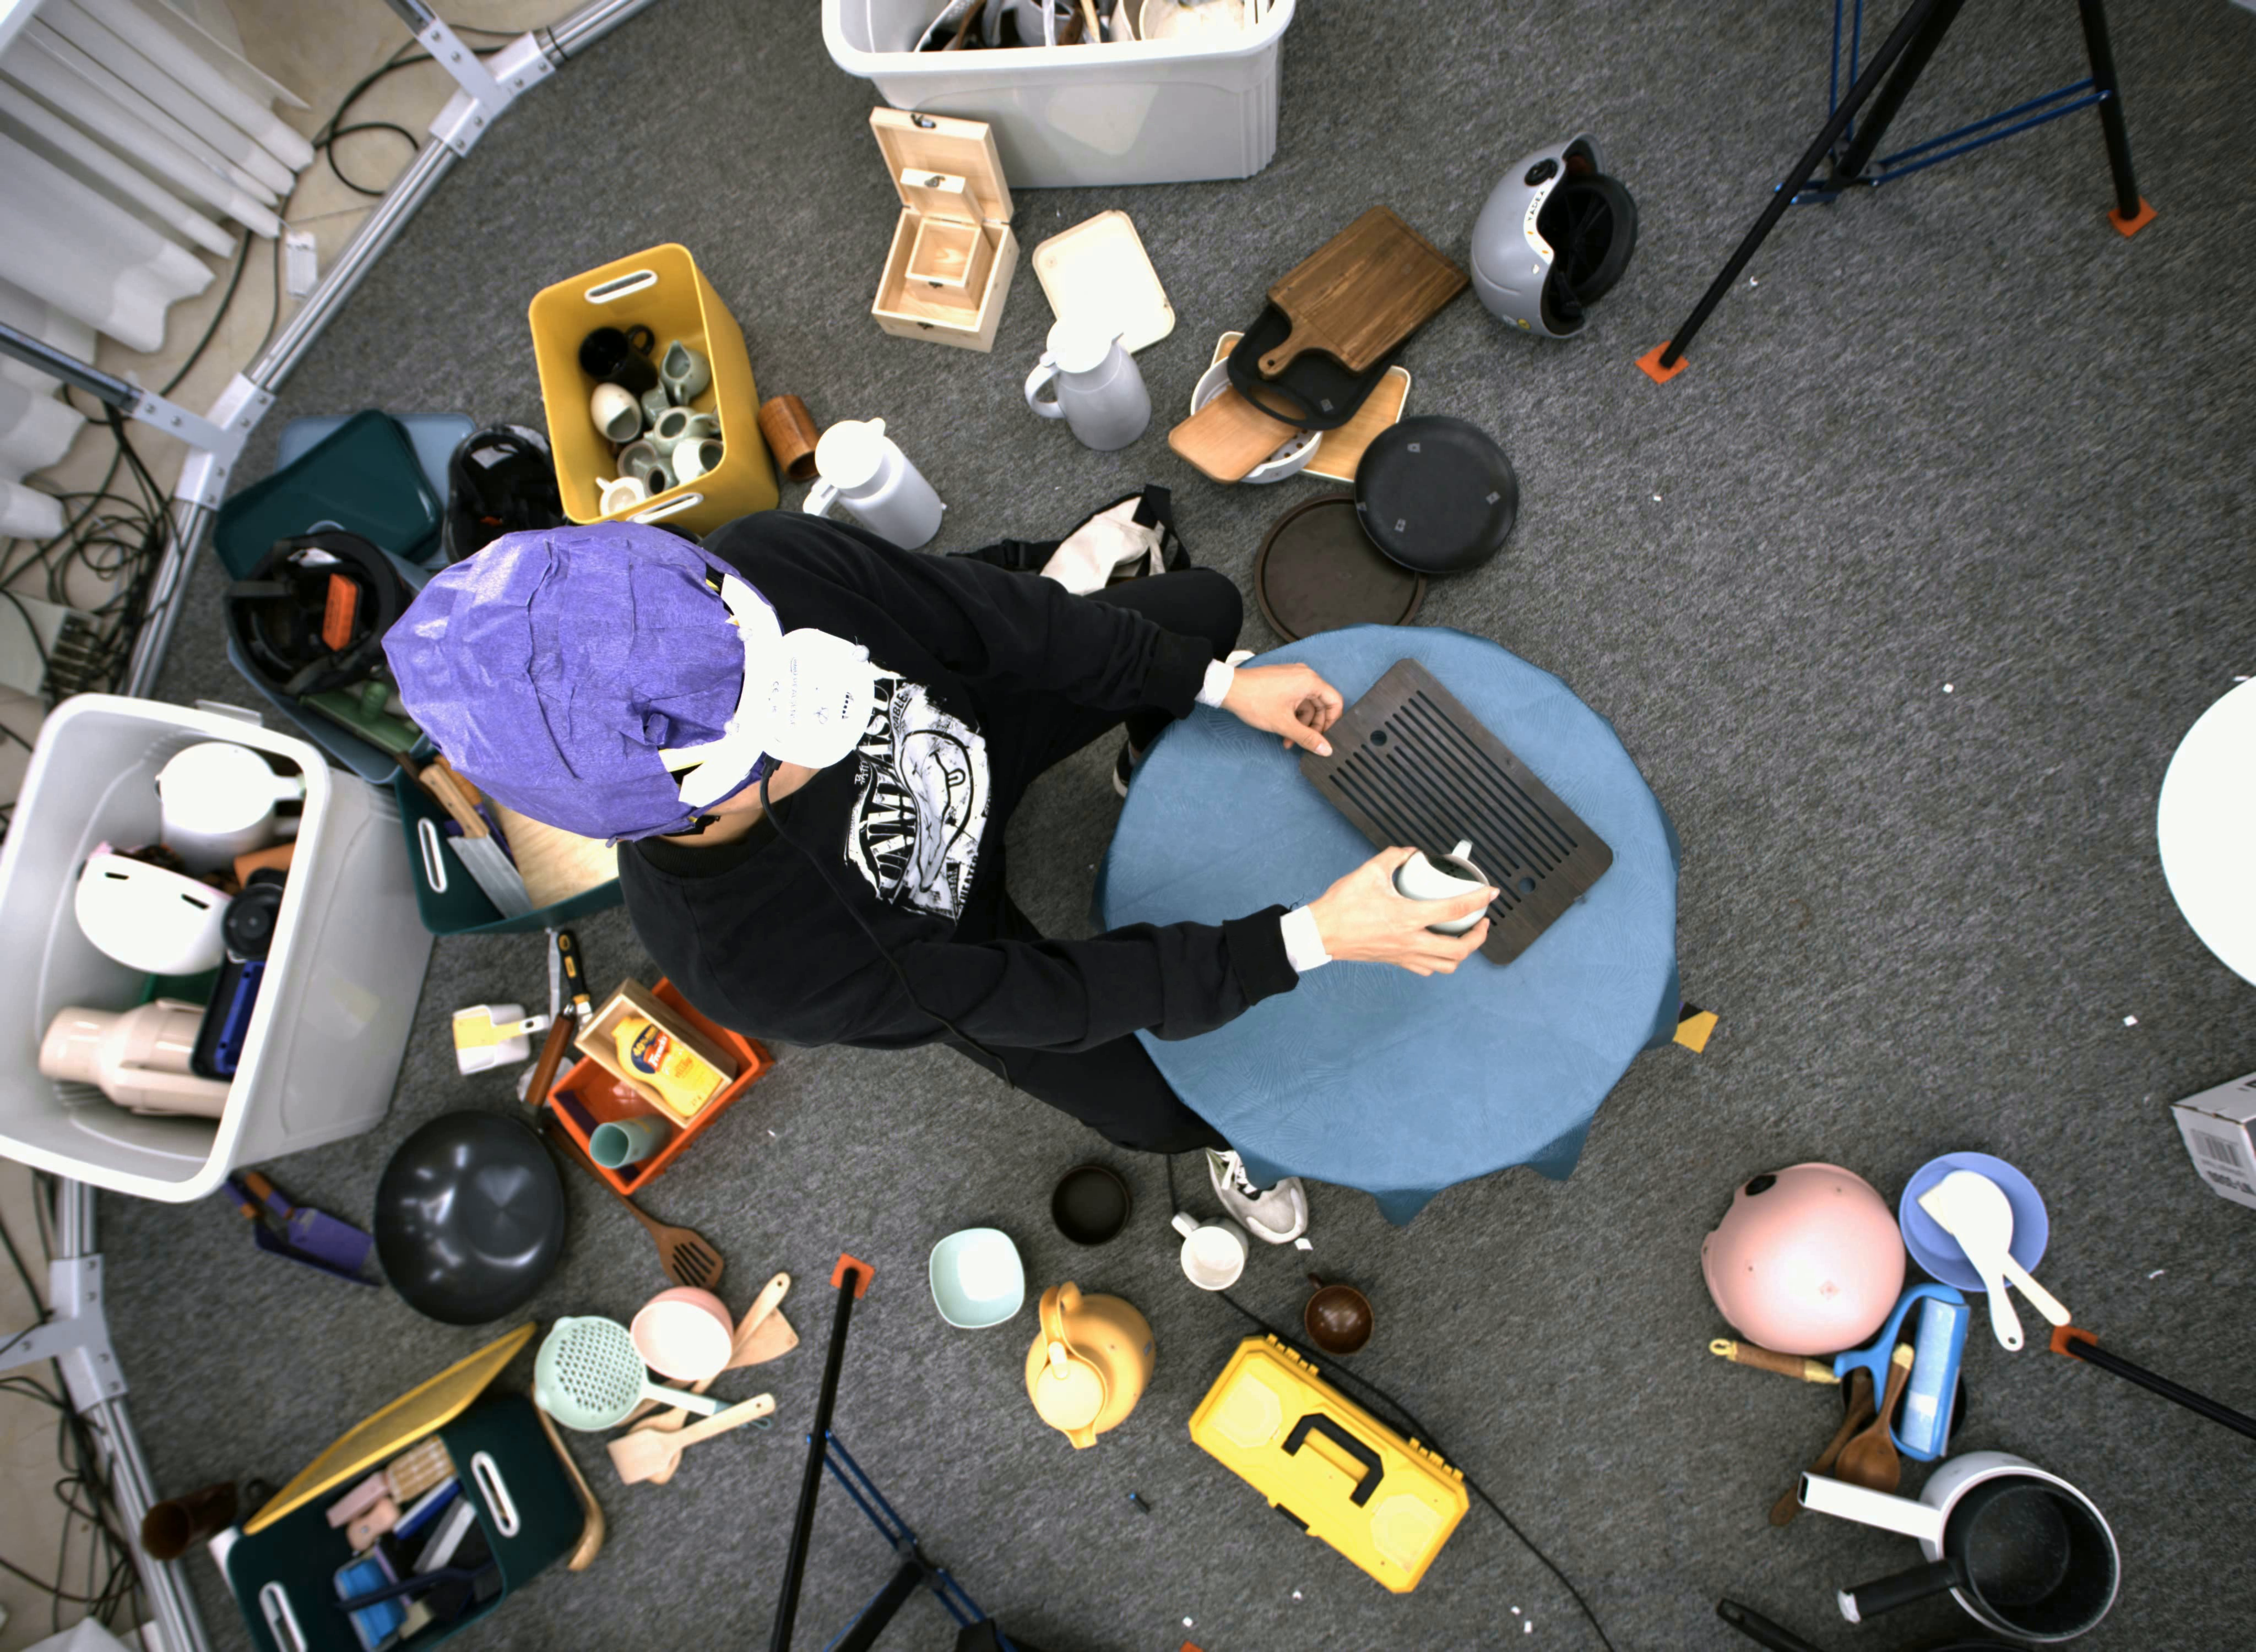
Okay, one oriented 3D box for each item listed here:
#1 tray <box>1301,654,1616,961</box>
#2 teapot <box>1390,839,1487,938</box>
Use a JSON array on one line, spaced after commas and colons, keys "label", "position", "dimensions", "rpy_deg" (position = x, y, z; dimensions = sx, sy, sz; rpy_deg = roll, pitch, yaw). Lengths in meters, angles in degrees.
[{"label": "tray", "position": [0.342, -0.022, 1.436], "dimensions": [0.171, 0.018, 0.305], "rpy_deg": [-45, 83, 6]}, {"label": "teapot", "position": [0.287, 0.060, 1.272], "dimensions": [0.088, 0.141, 0.076], "rpy_deg": [26, 115, 18]}]
